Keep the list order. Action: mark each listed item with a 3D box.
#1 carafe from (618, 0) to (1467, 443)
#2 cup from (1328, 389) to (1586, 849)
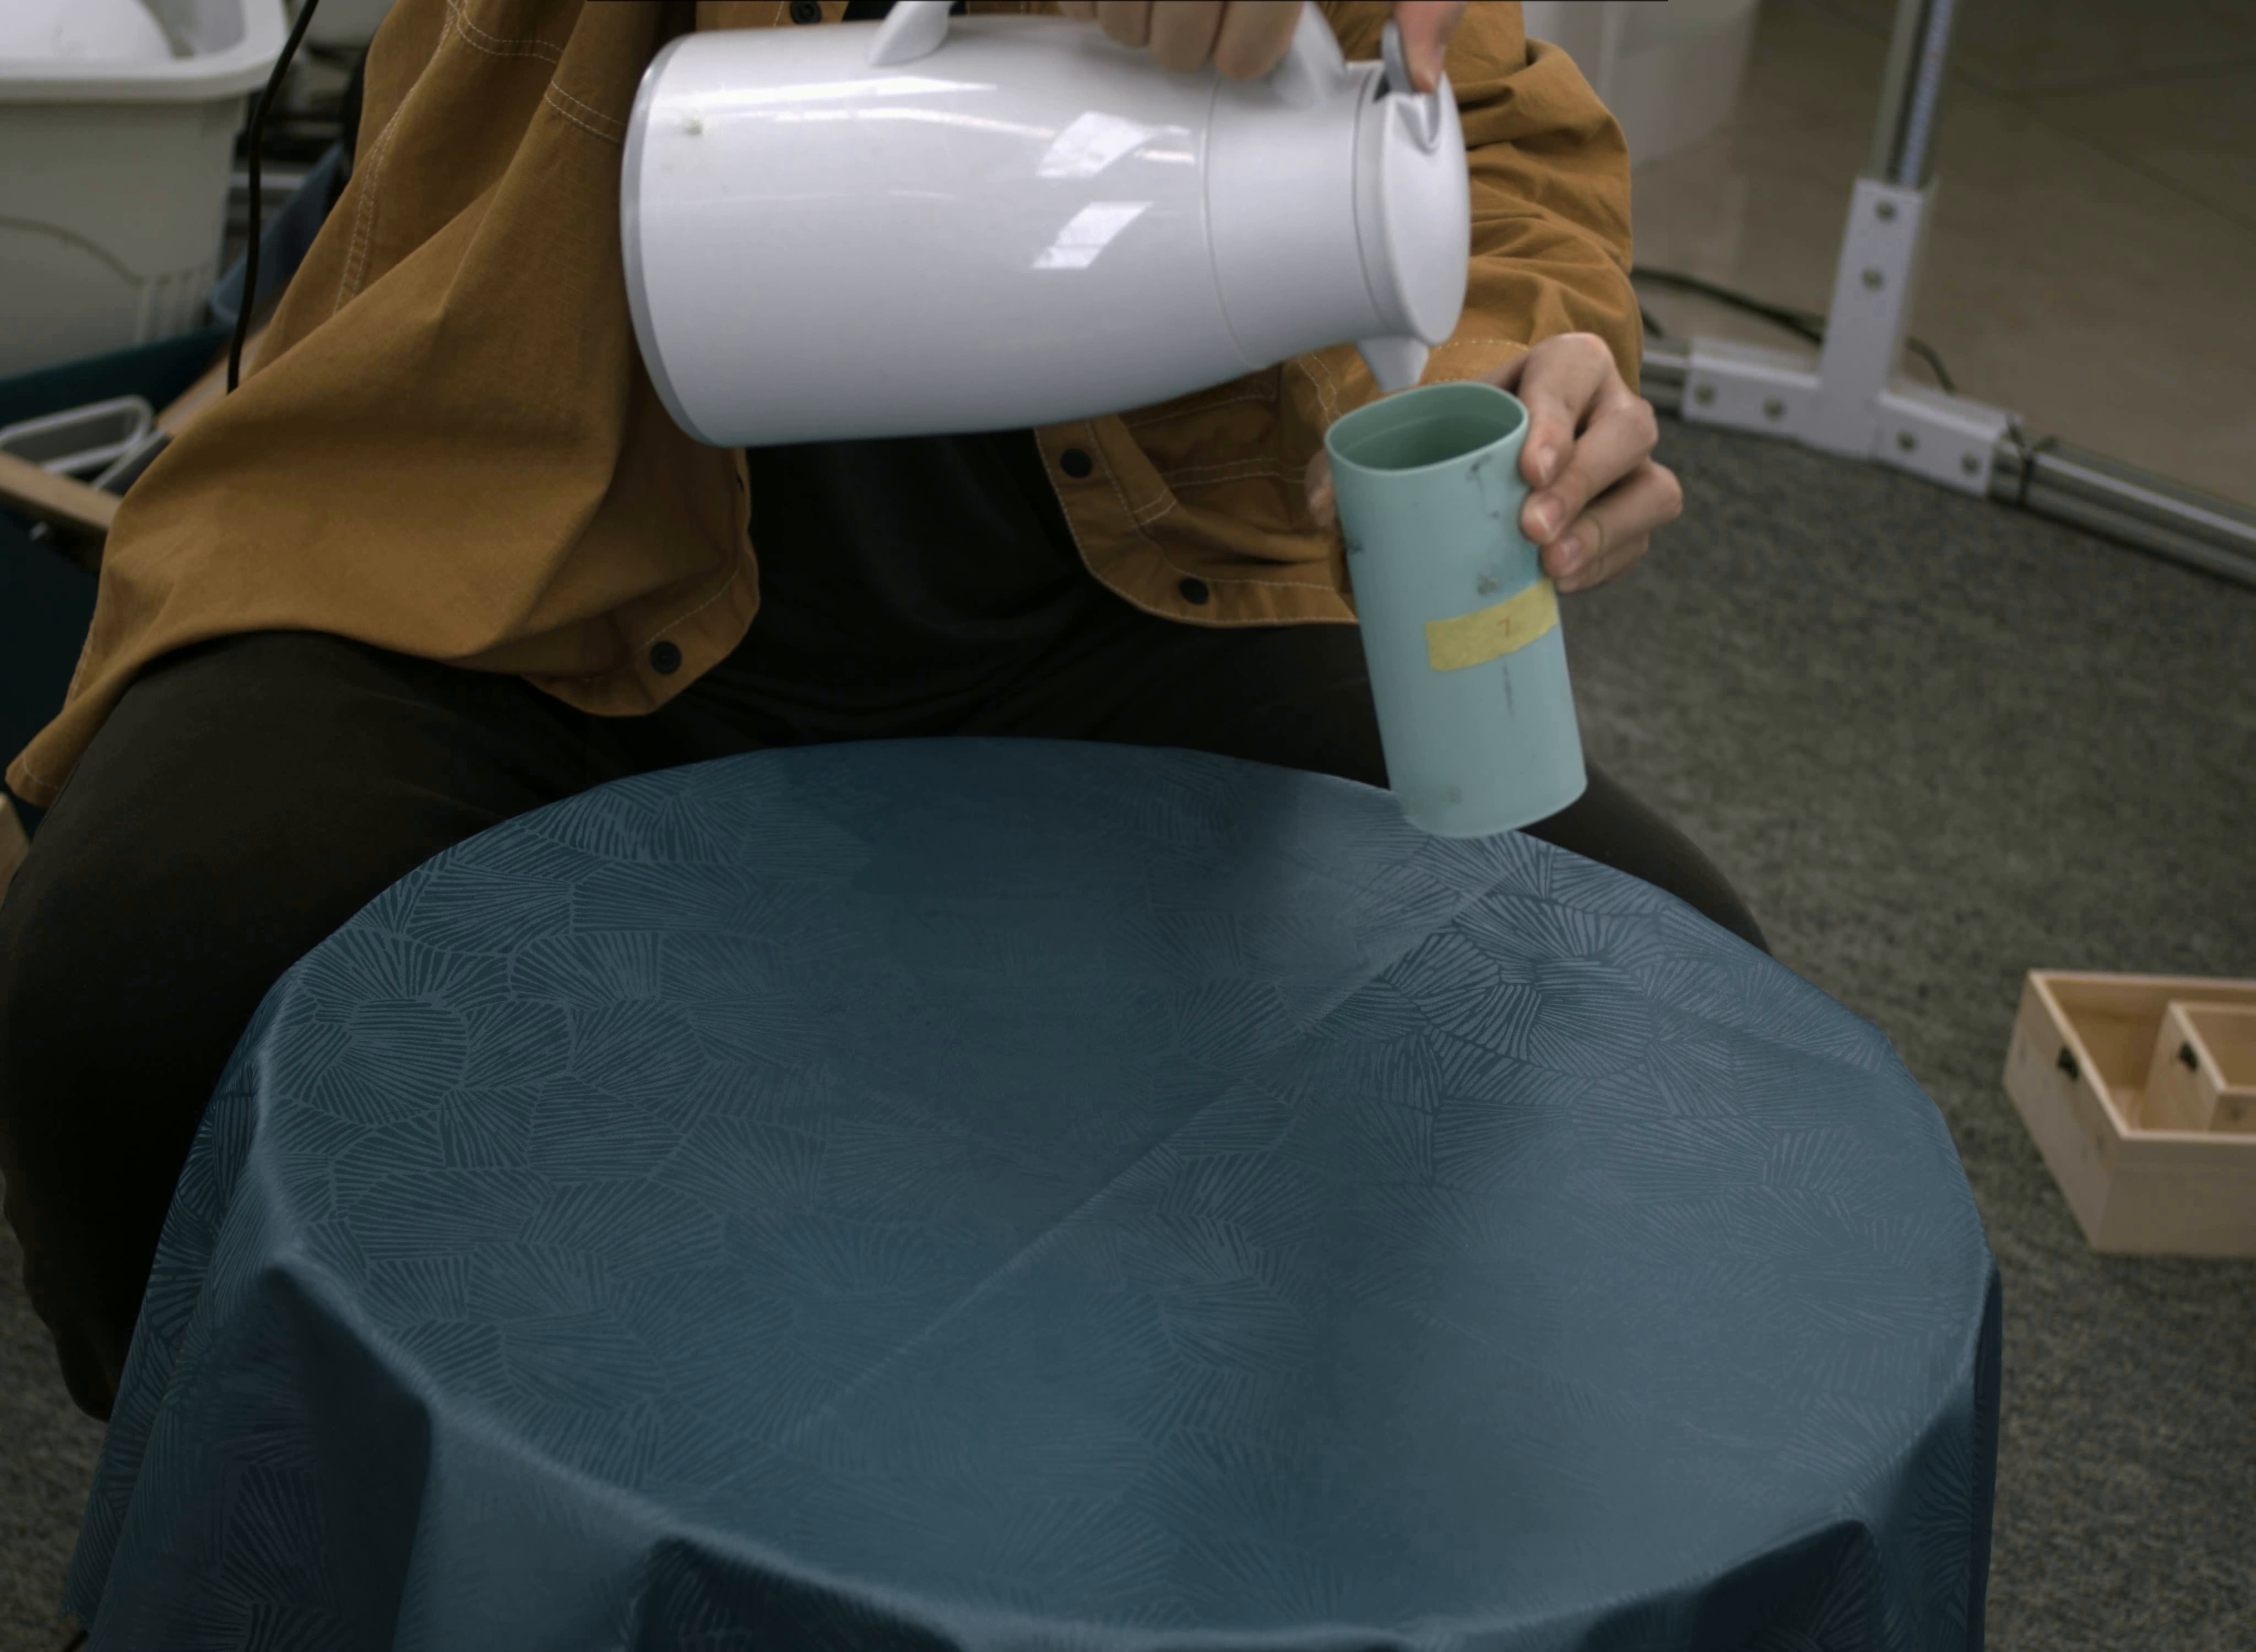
[{"bbox_3d":[-0.024,-0.205,1.644,0.249,0.166,0.133,-1,36,20],"label":"carafe"},{"bbox_3d":[0.105,-0.066,1.691,0.066,0.132,0.067,-9,26,4],"label":"cup"}]
